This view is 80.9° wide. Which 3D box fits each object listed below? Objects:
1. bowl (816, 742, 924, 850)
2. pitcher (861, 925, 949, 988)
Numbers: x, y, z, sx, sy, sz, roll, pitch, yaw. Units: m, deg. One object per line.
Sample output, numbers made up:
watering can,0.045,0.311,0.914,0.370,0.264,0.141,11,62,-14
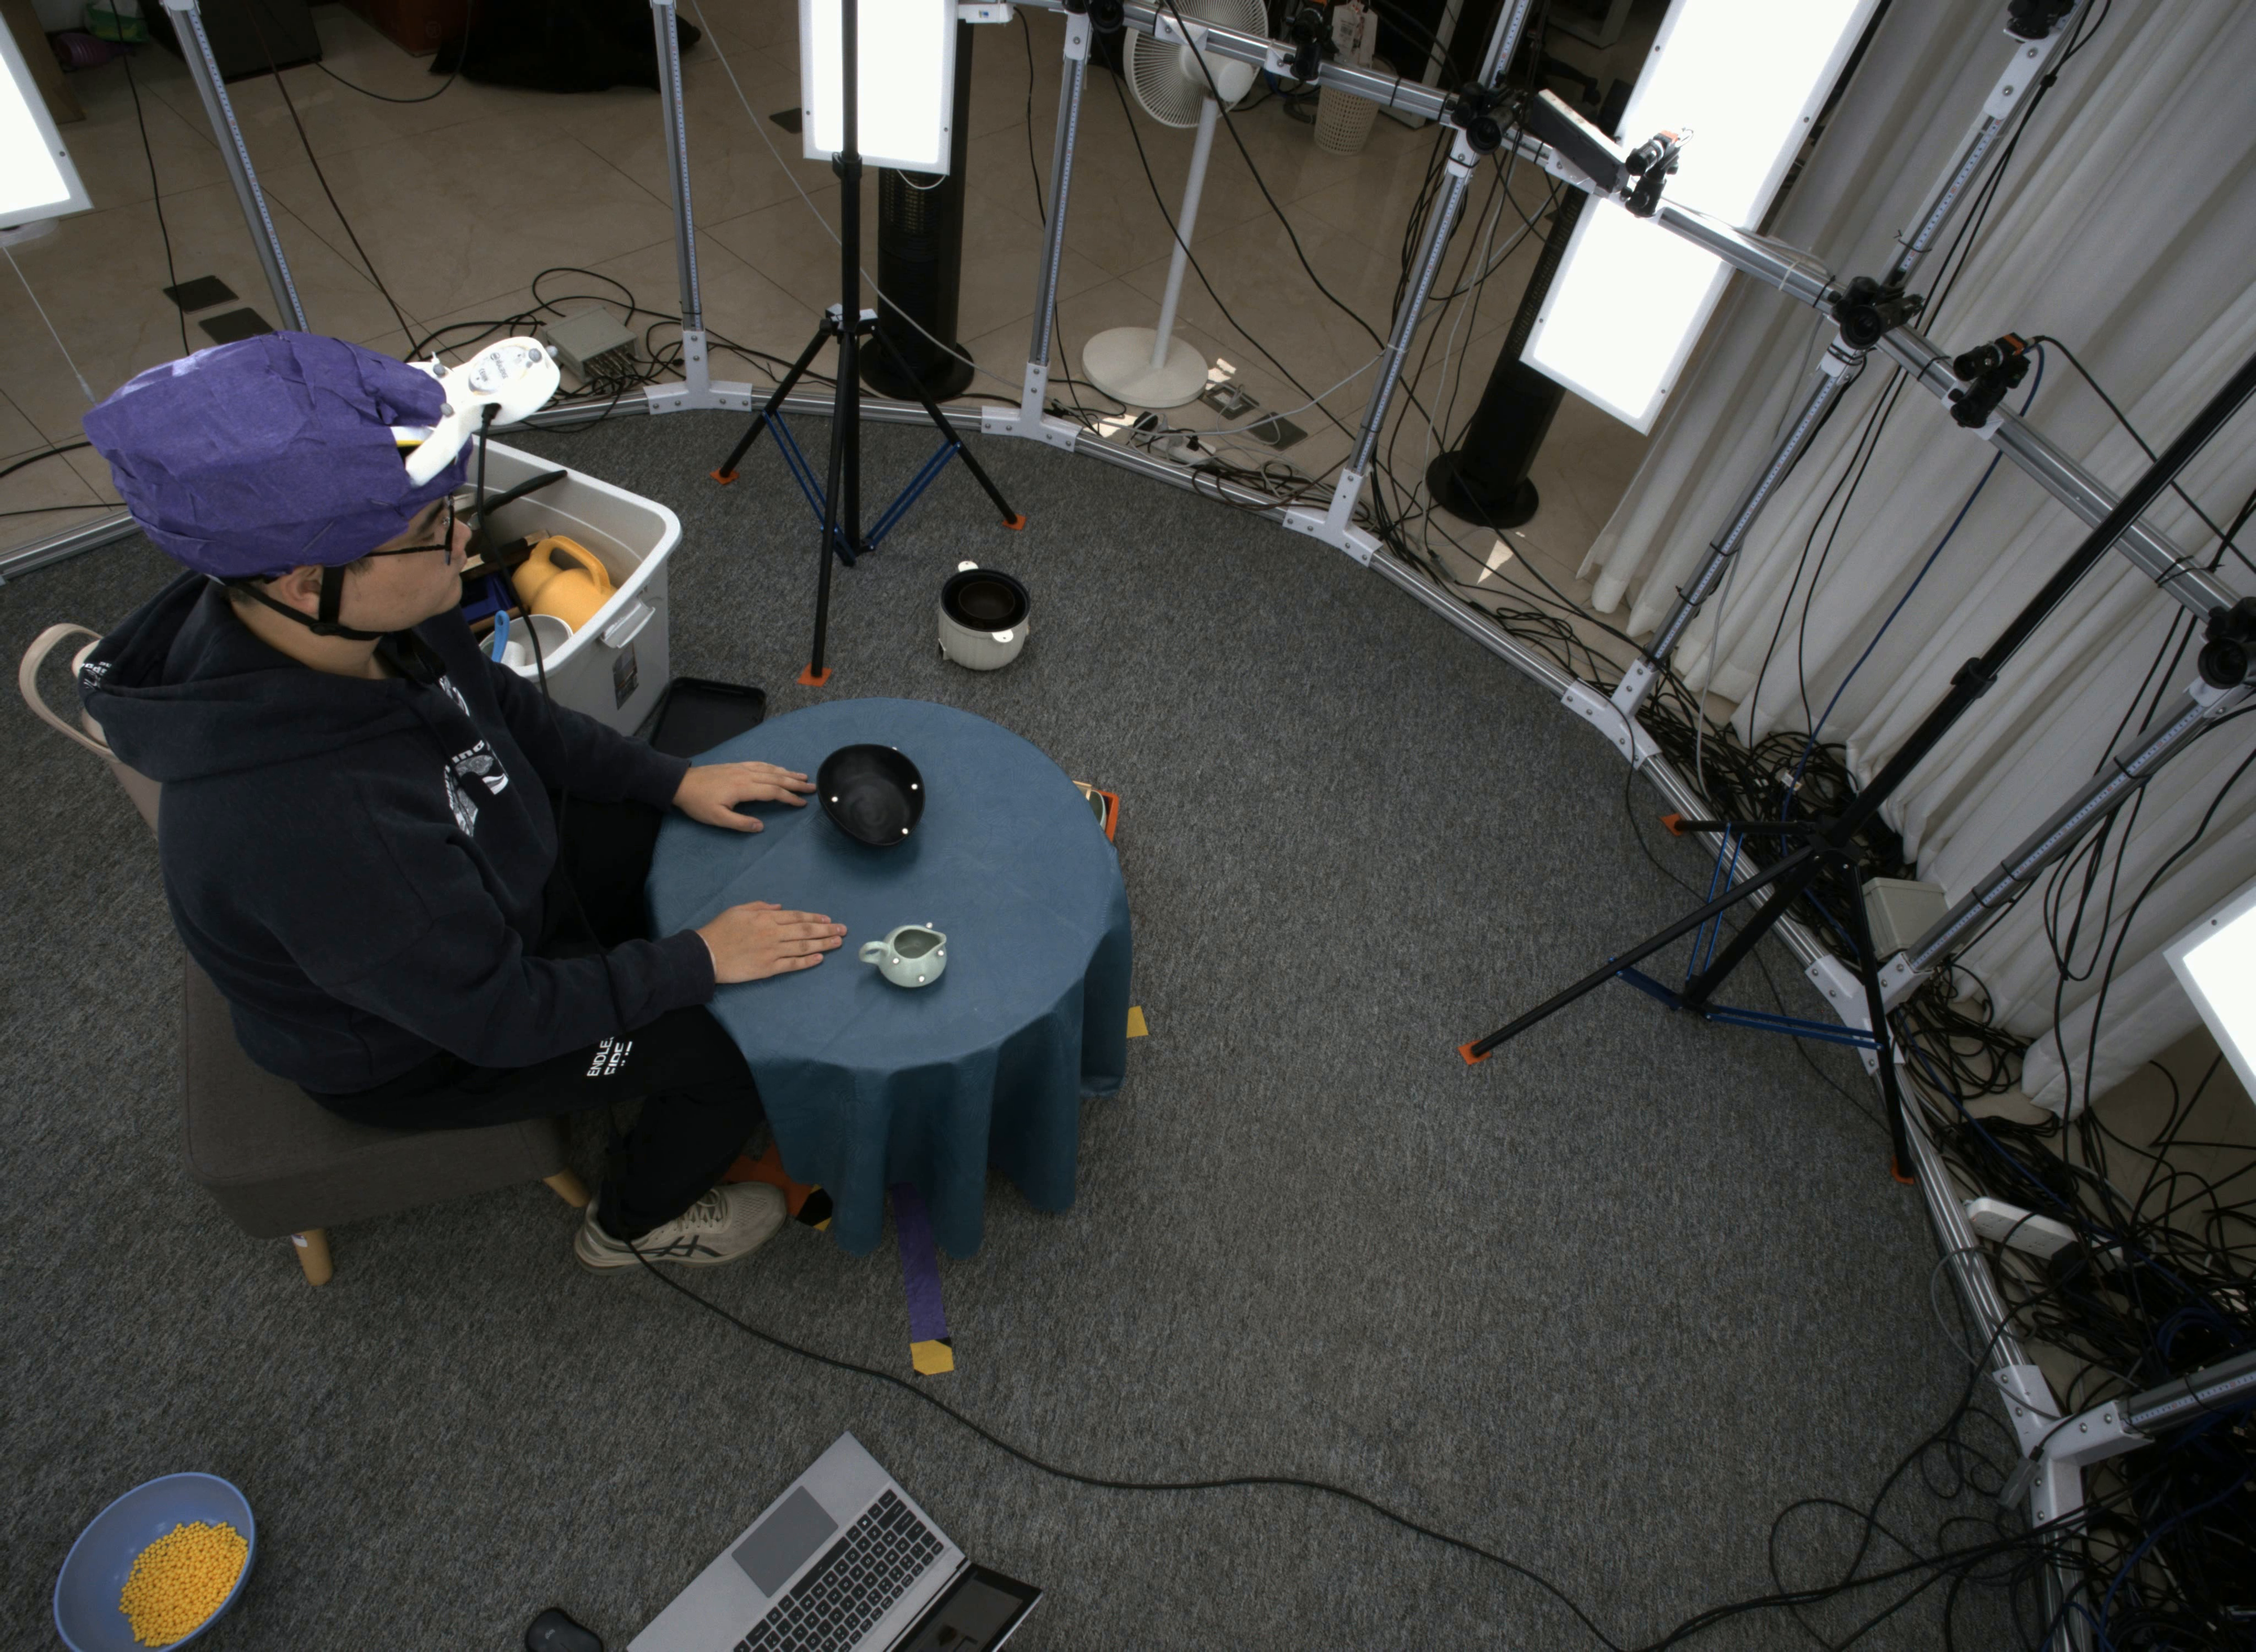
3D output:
bowl,-0.340,-0.032,1.725,0.138,0.068,0.166,-19,61,-24
pitcher,-0.275,0.157,1.604,0.108,0.062,0.084,-8,54,-16
